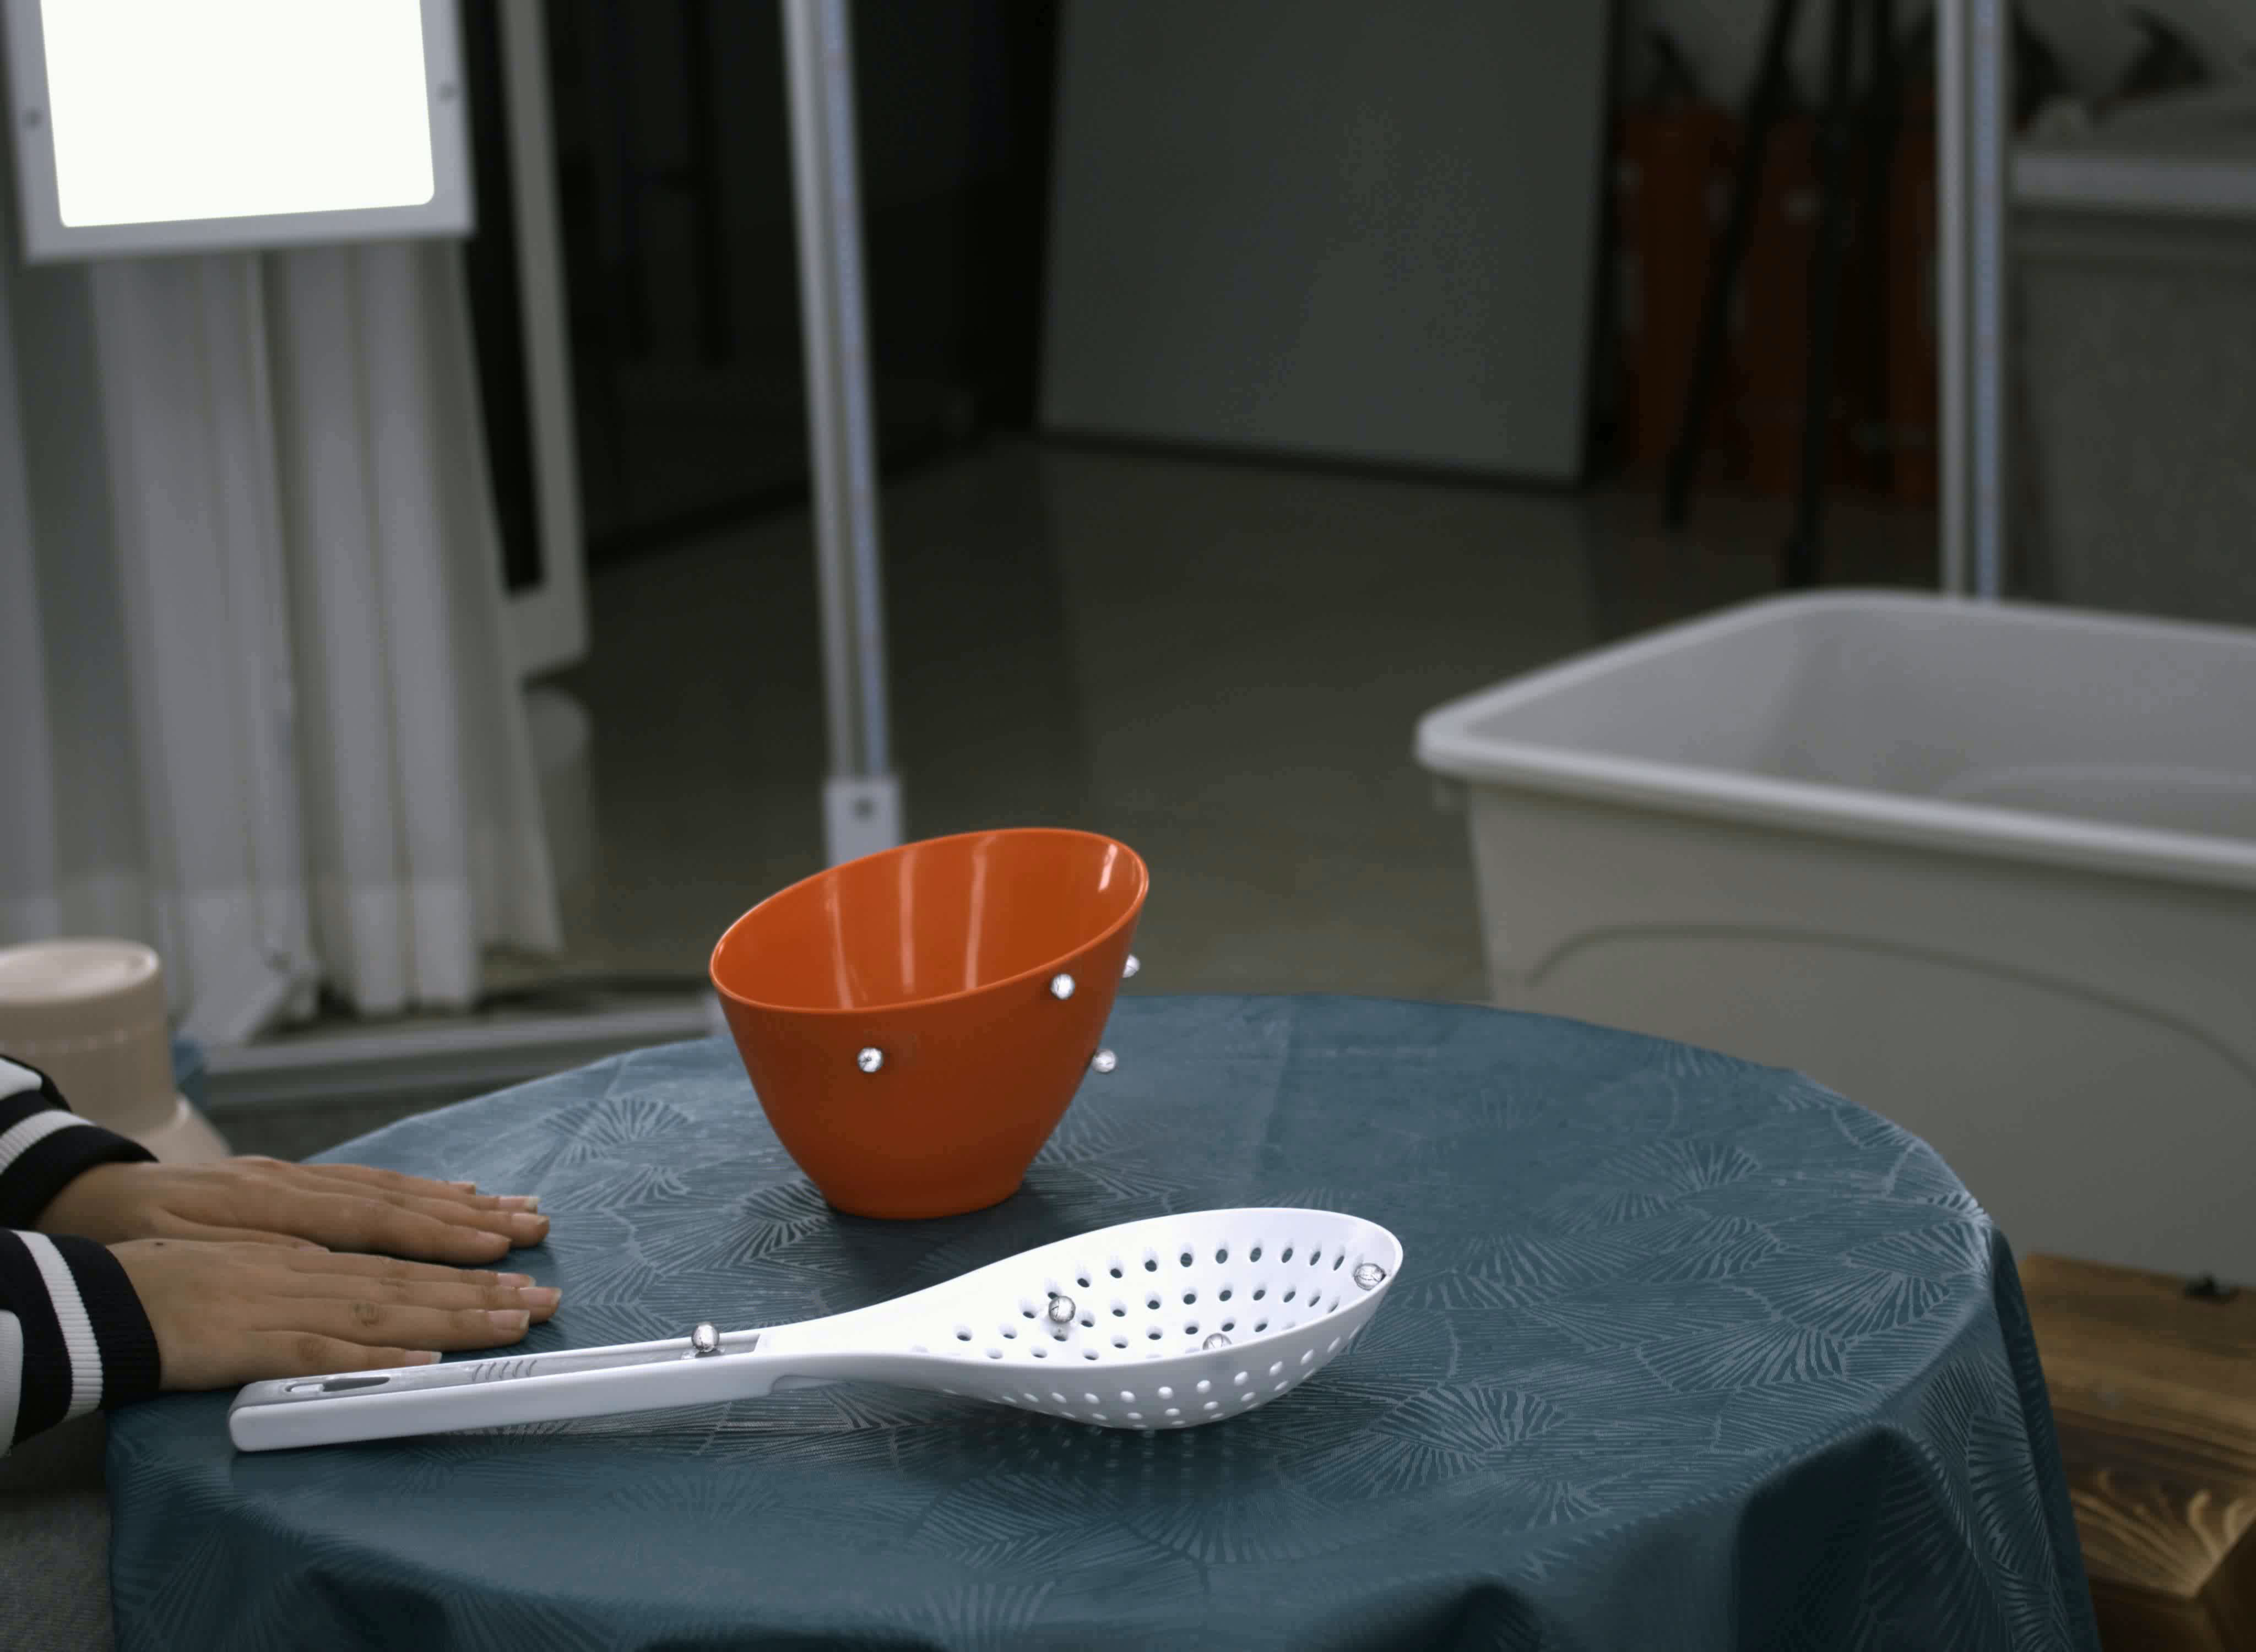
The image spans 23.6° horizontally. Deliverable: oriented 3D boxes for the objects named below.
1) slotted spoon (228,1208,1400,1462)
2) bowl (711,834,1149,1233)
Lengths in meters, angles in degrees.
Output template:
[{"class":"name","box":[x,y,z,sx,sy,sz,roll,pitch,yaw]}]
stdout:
[{"class":"slotted spoon","box":[-0.092,0.154,1.570,0.346,0.046,0.136,-3,12,7]},{"class":"bowl","box":[-0.062,0.072,1.781,0.146,0.106,0.148,-4,15,0]}]
